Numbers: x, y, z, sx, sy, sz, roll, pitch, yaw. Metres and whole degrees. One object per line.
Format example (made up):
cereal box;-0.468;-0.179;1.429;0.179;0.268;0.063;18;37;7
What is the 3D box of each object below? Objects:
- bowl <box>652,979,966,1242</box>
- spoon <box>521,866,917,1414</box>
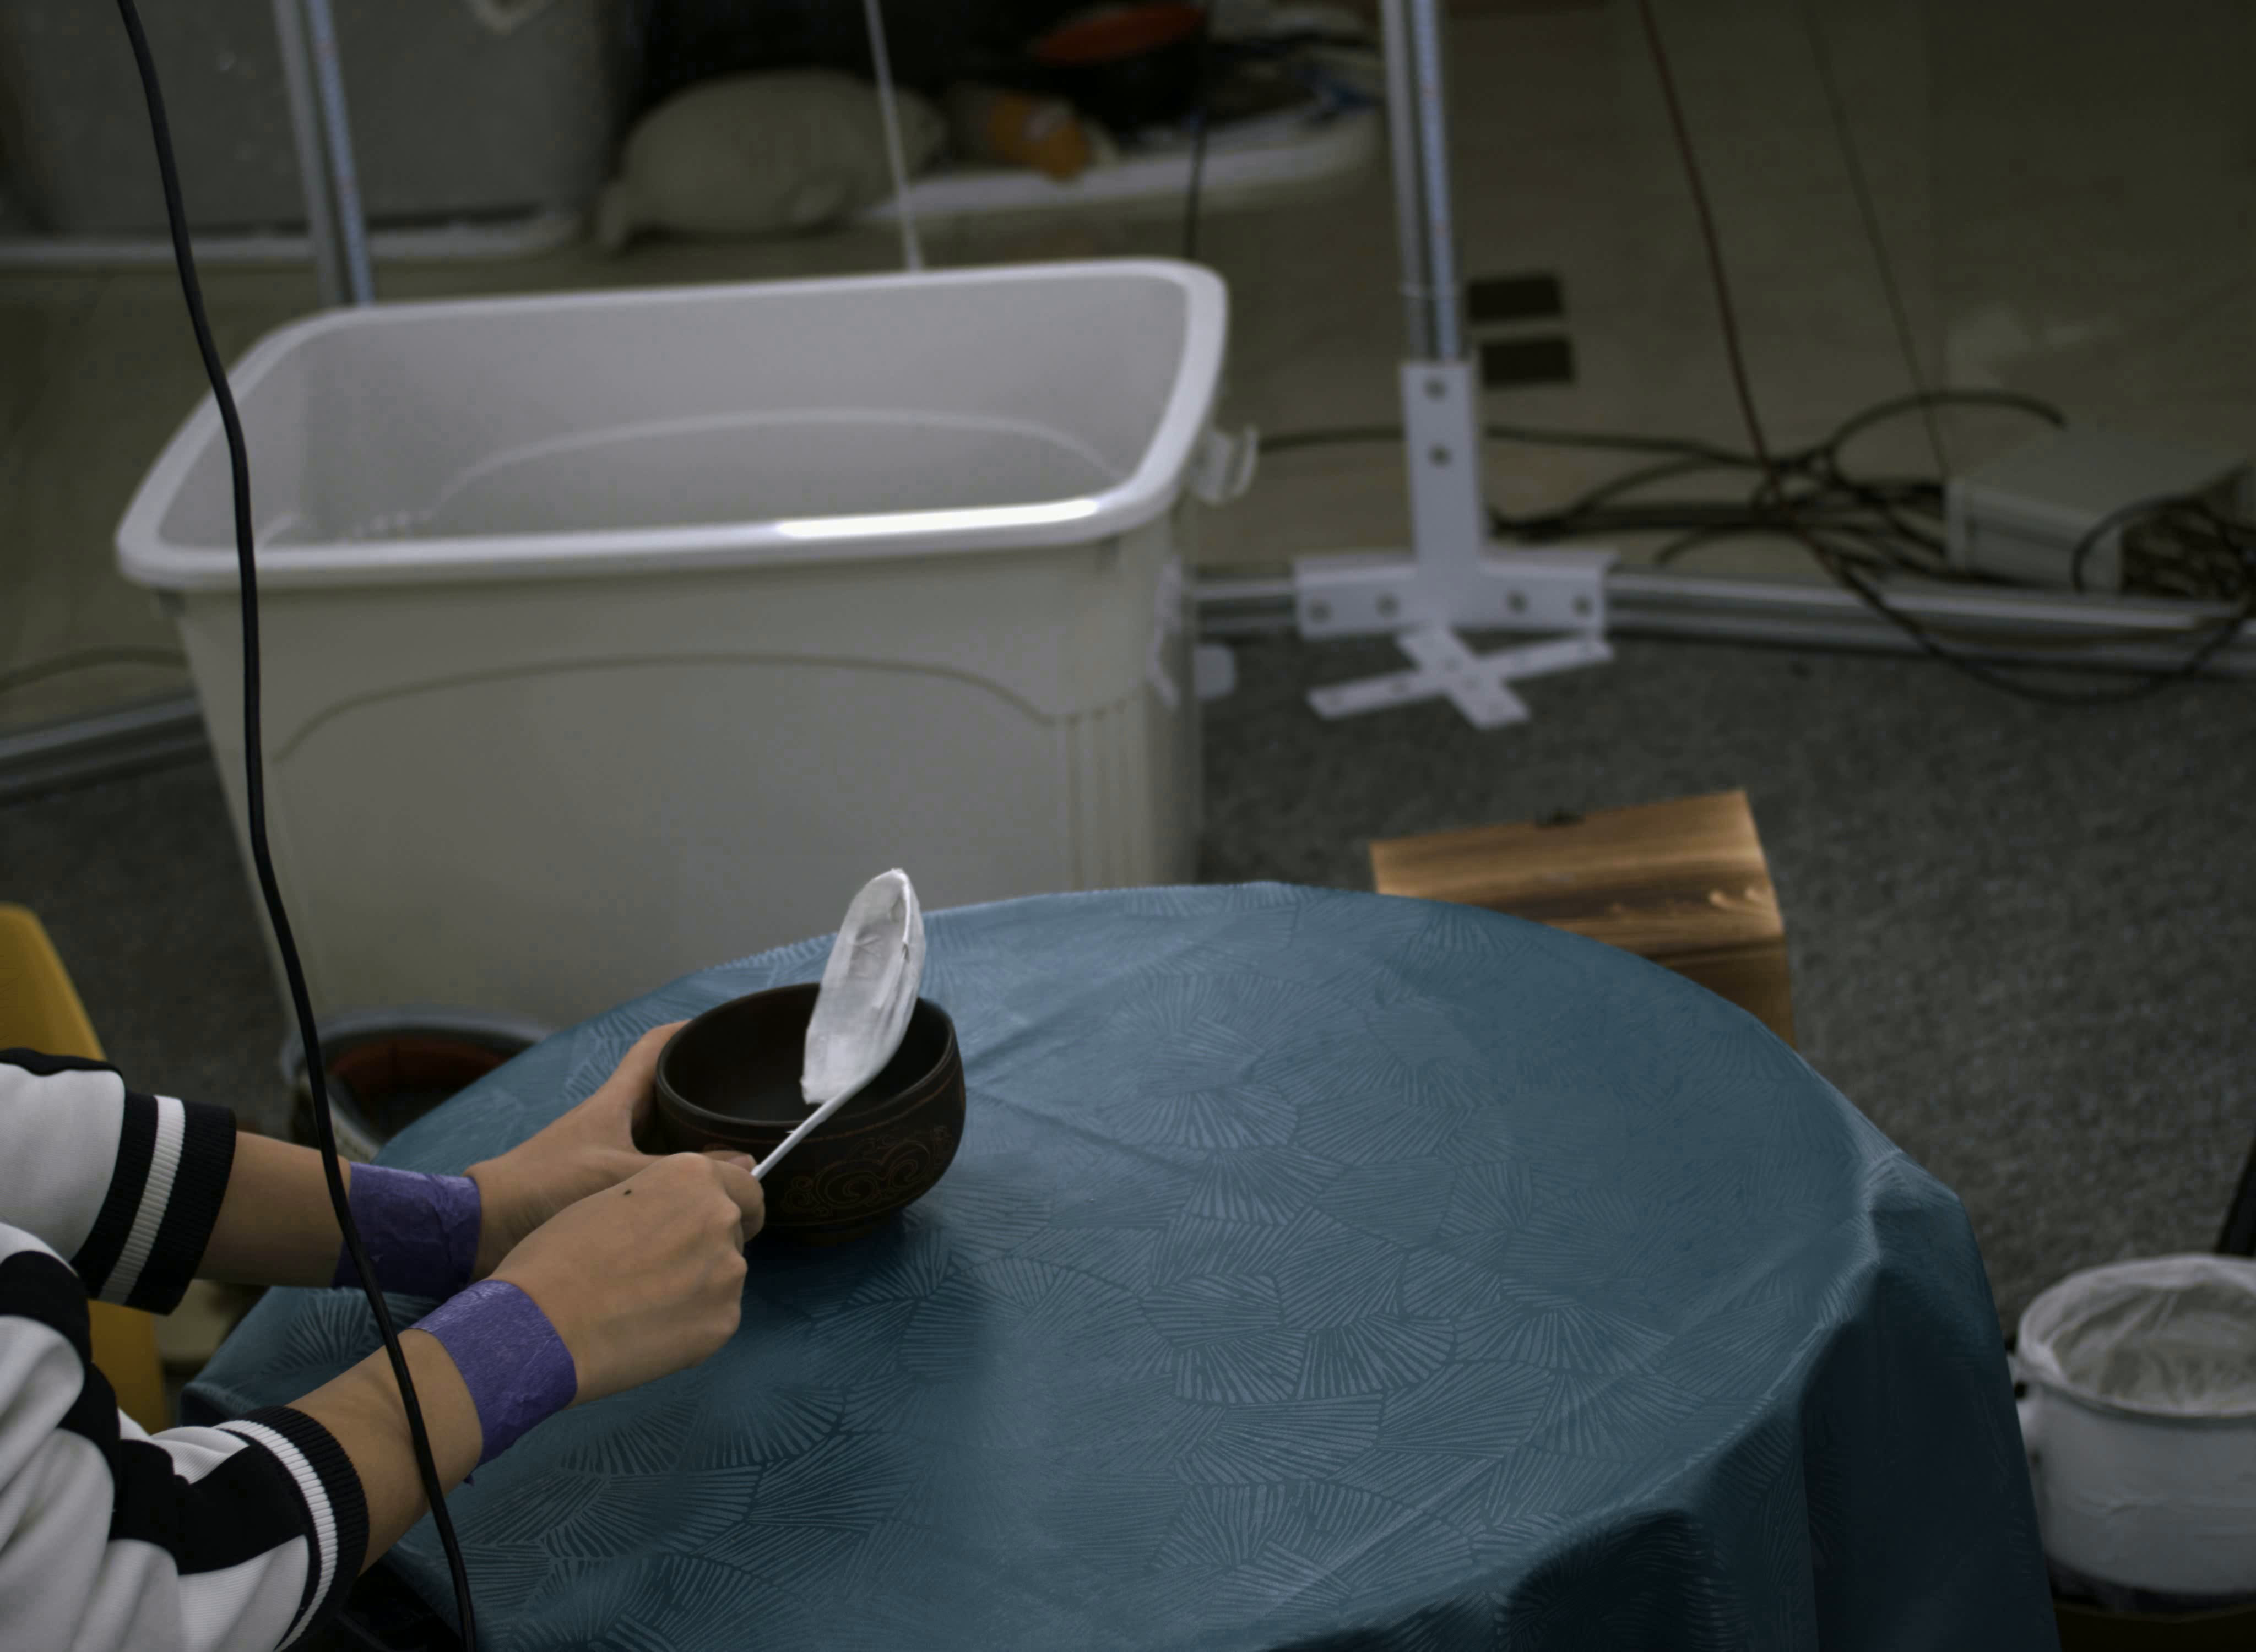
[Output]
bowl;-0.119;0.114;2.143;0.118;0.071;0.116;-5;26;2
spoon;-0.155;0.115;2.050;0.059;0.102;0.274;39;49;8
